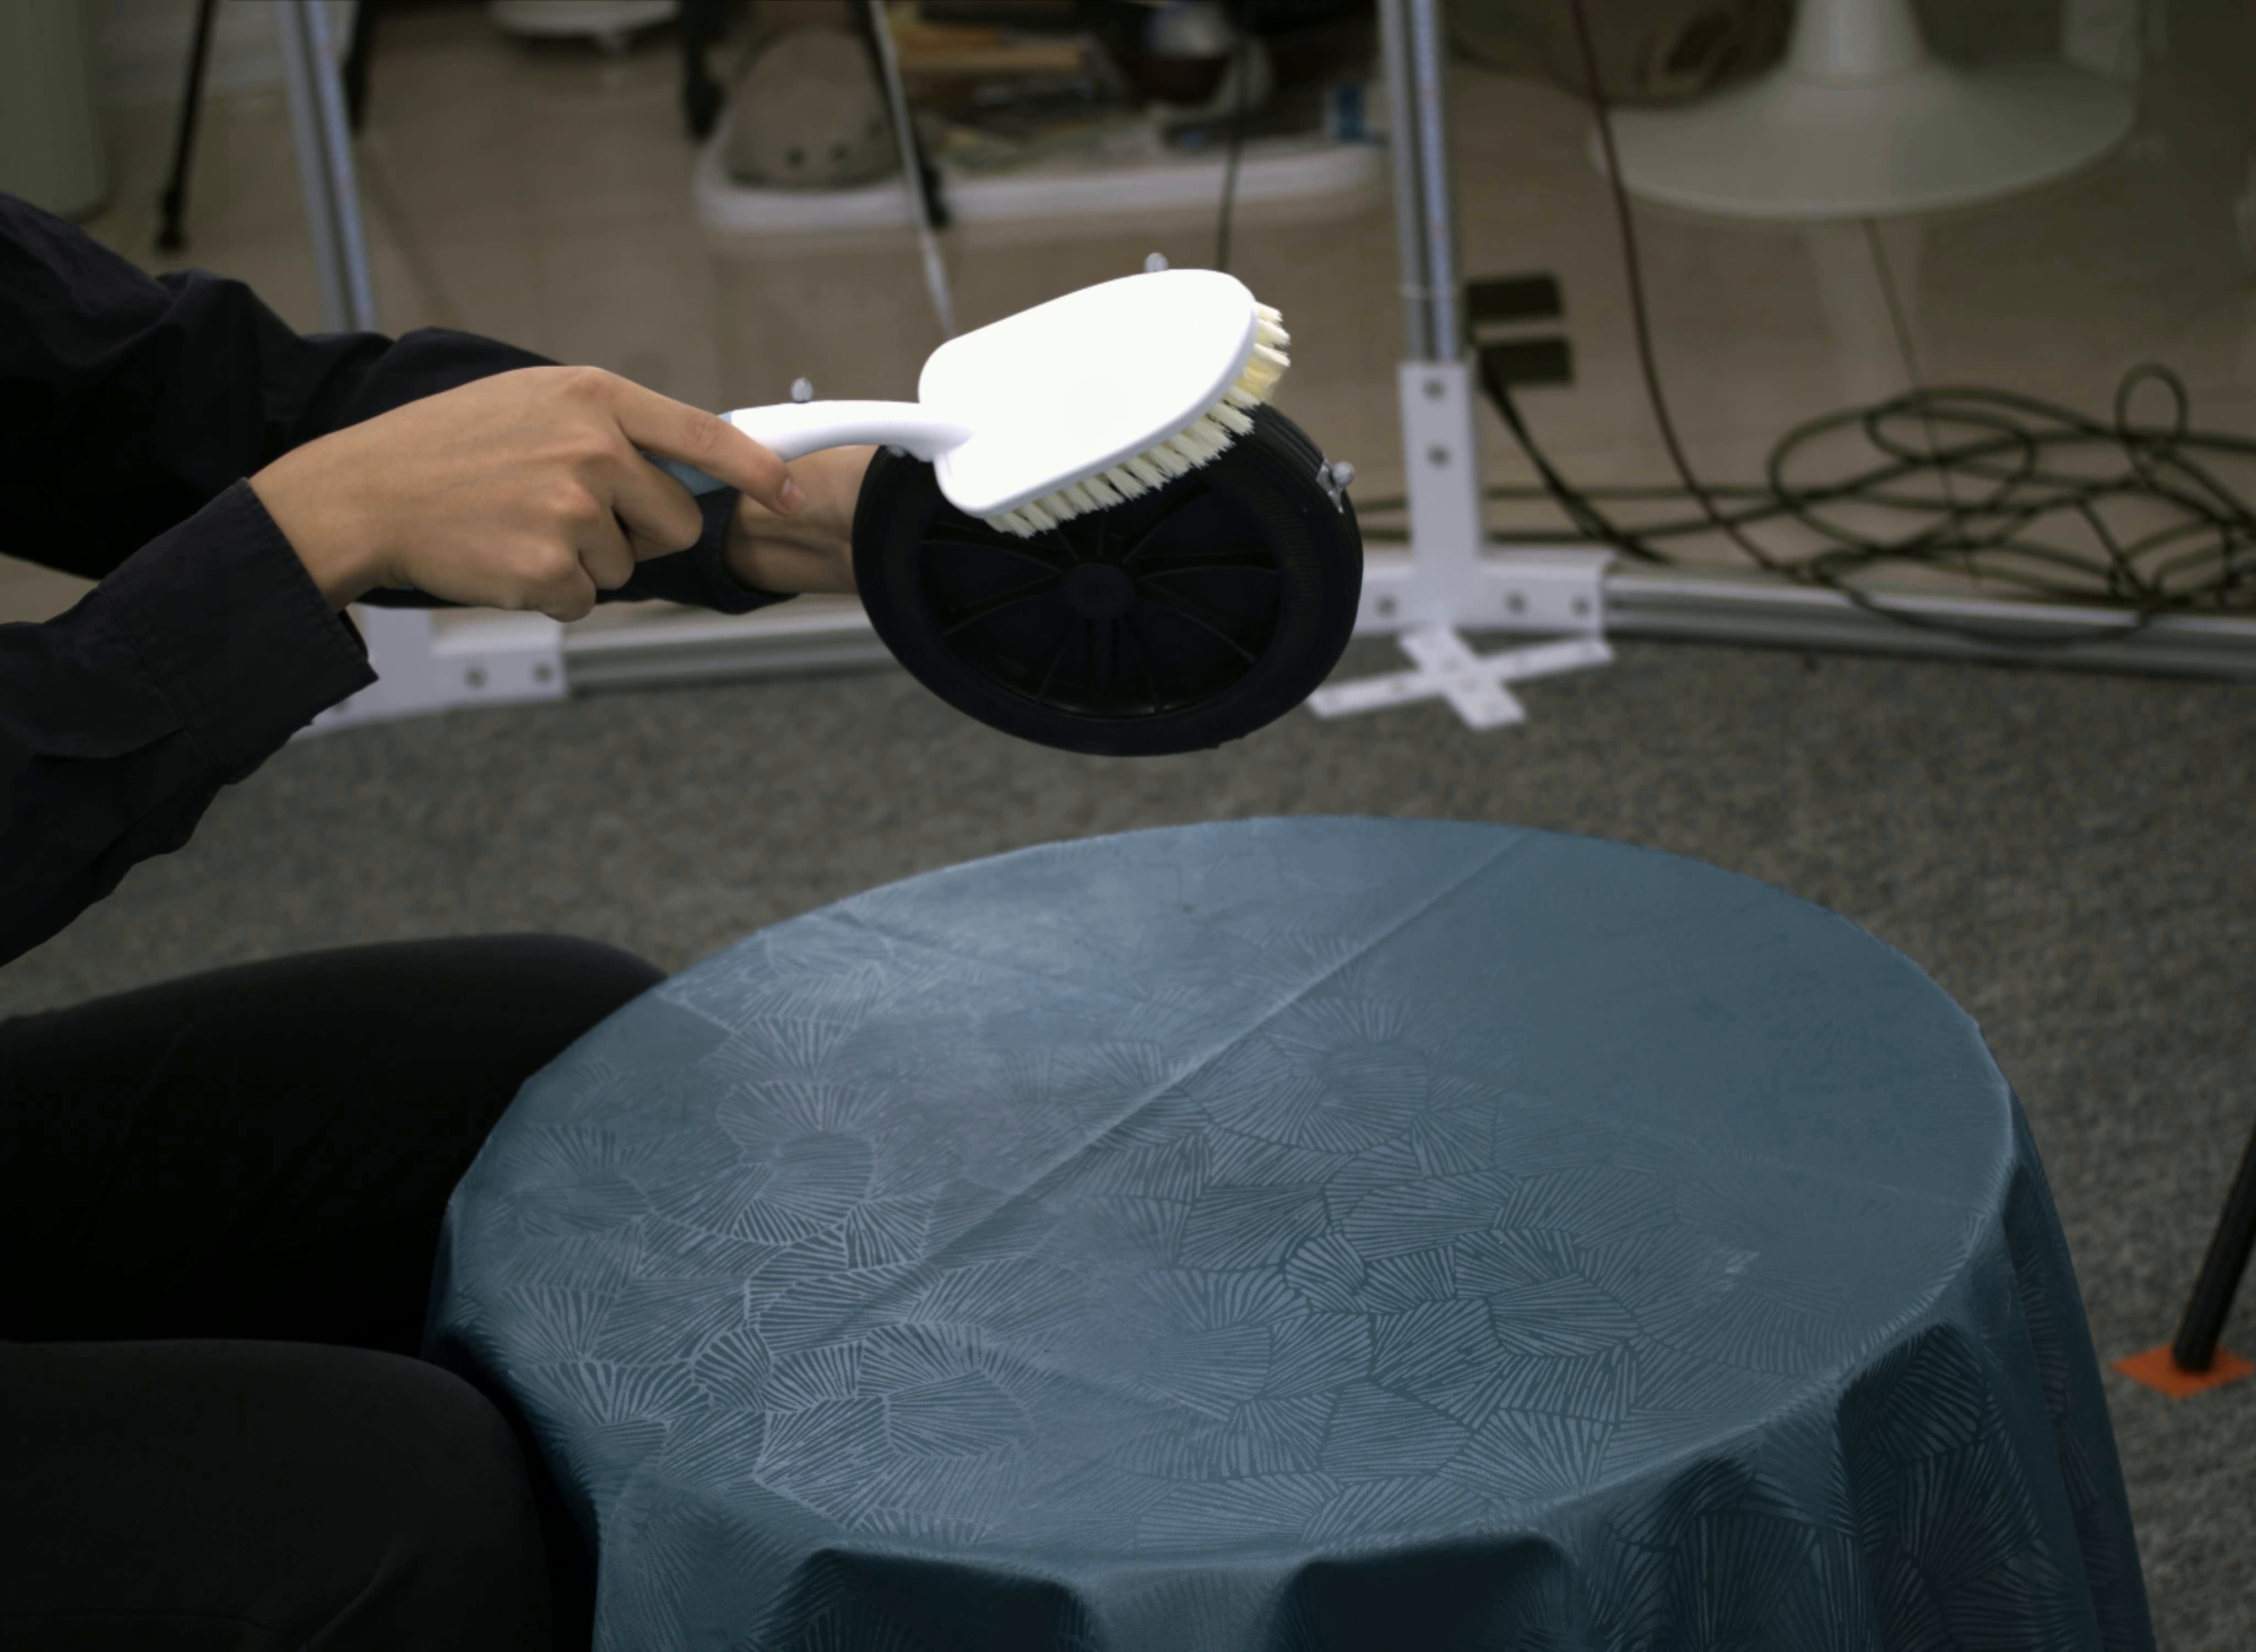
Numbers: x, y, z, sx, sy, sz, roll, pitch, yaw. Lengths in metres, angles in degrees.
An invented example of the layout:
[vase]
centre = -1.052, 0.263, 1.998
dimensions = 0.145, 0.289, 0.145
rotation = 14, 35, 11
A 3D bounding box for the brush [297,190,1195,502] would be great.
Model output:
[brush]
centre = -0.133, -0.160, 2.000
dimensions = 0.325, 0.086, 0.081
rotation = -15, 34, 7

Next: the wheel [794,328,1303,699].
[wheel]
centre = -0.028, -0.134, 2.117
dimensions = 0.189, 0.191, 0.078
rotation = 5, 48, 2
